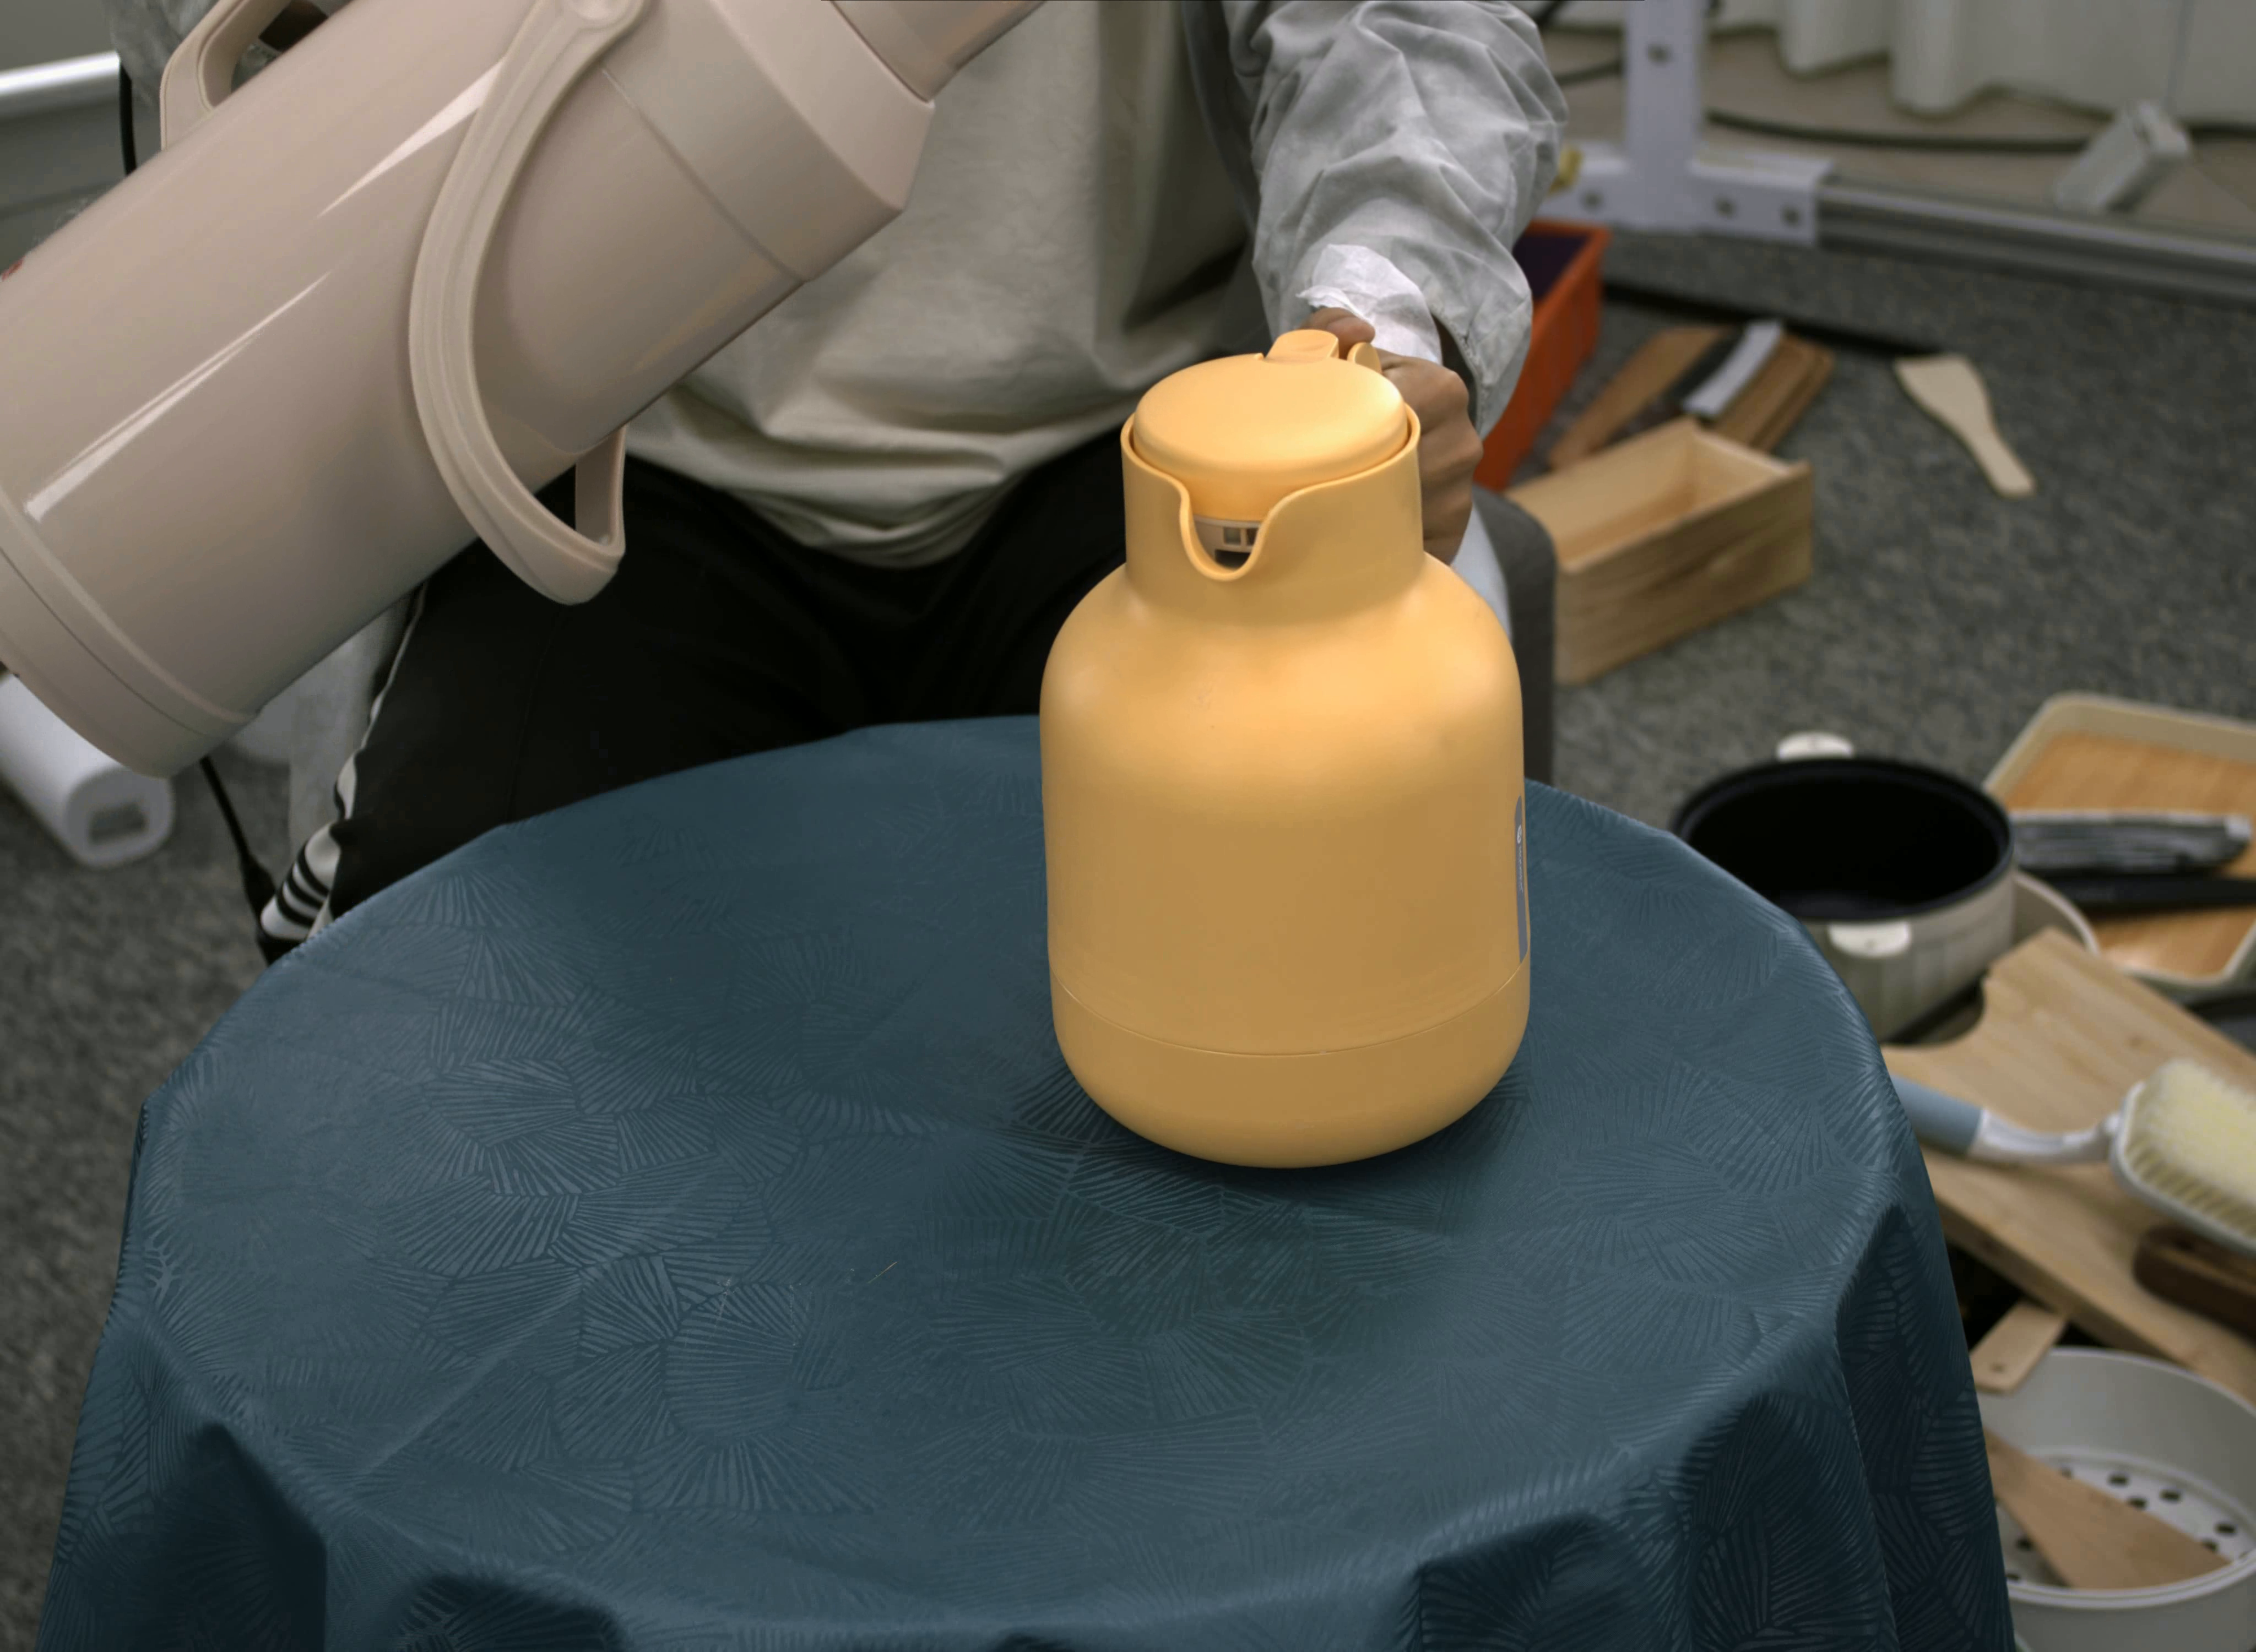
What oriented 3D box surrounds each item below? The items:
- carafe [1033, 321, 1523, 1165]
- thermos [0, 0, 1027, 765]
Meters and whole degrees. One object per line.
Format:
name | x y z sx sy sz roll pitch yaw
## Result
carafe | 0.055 -0.037 1.880 0.162 0.257 0.206 7 29 14
thermos | -0.202 -0.209 1.768 0.404 0.208 0.175 -37 -14 7
